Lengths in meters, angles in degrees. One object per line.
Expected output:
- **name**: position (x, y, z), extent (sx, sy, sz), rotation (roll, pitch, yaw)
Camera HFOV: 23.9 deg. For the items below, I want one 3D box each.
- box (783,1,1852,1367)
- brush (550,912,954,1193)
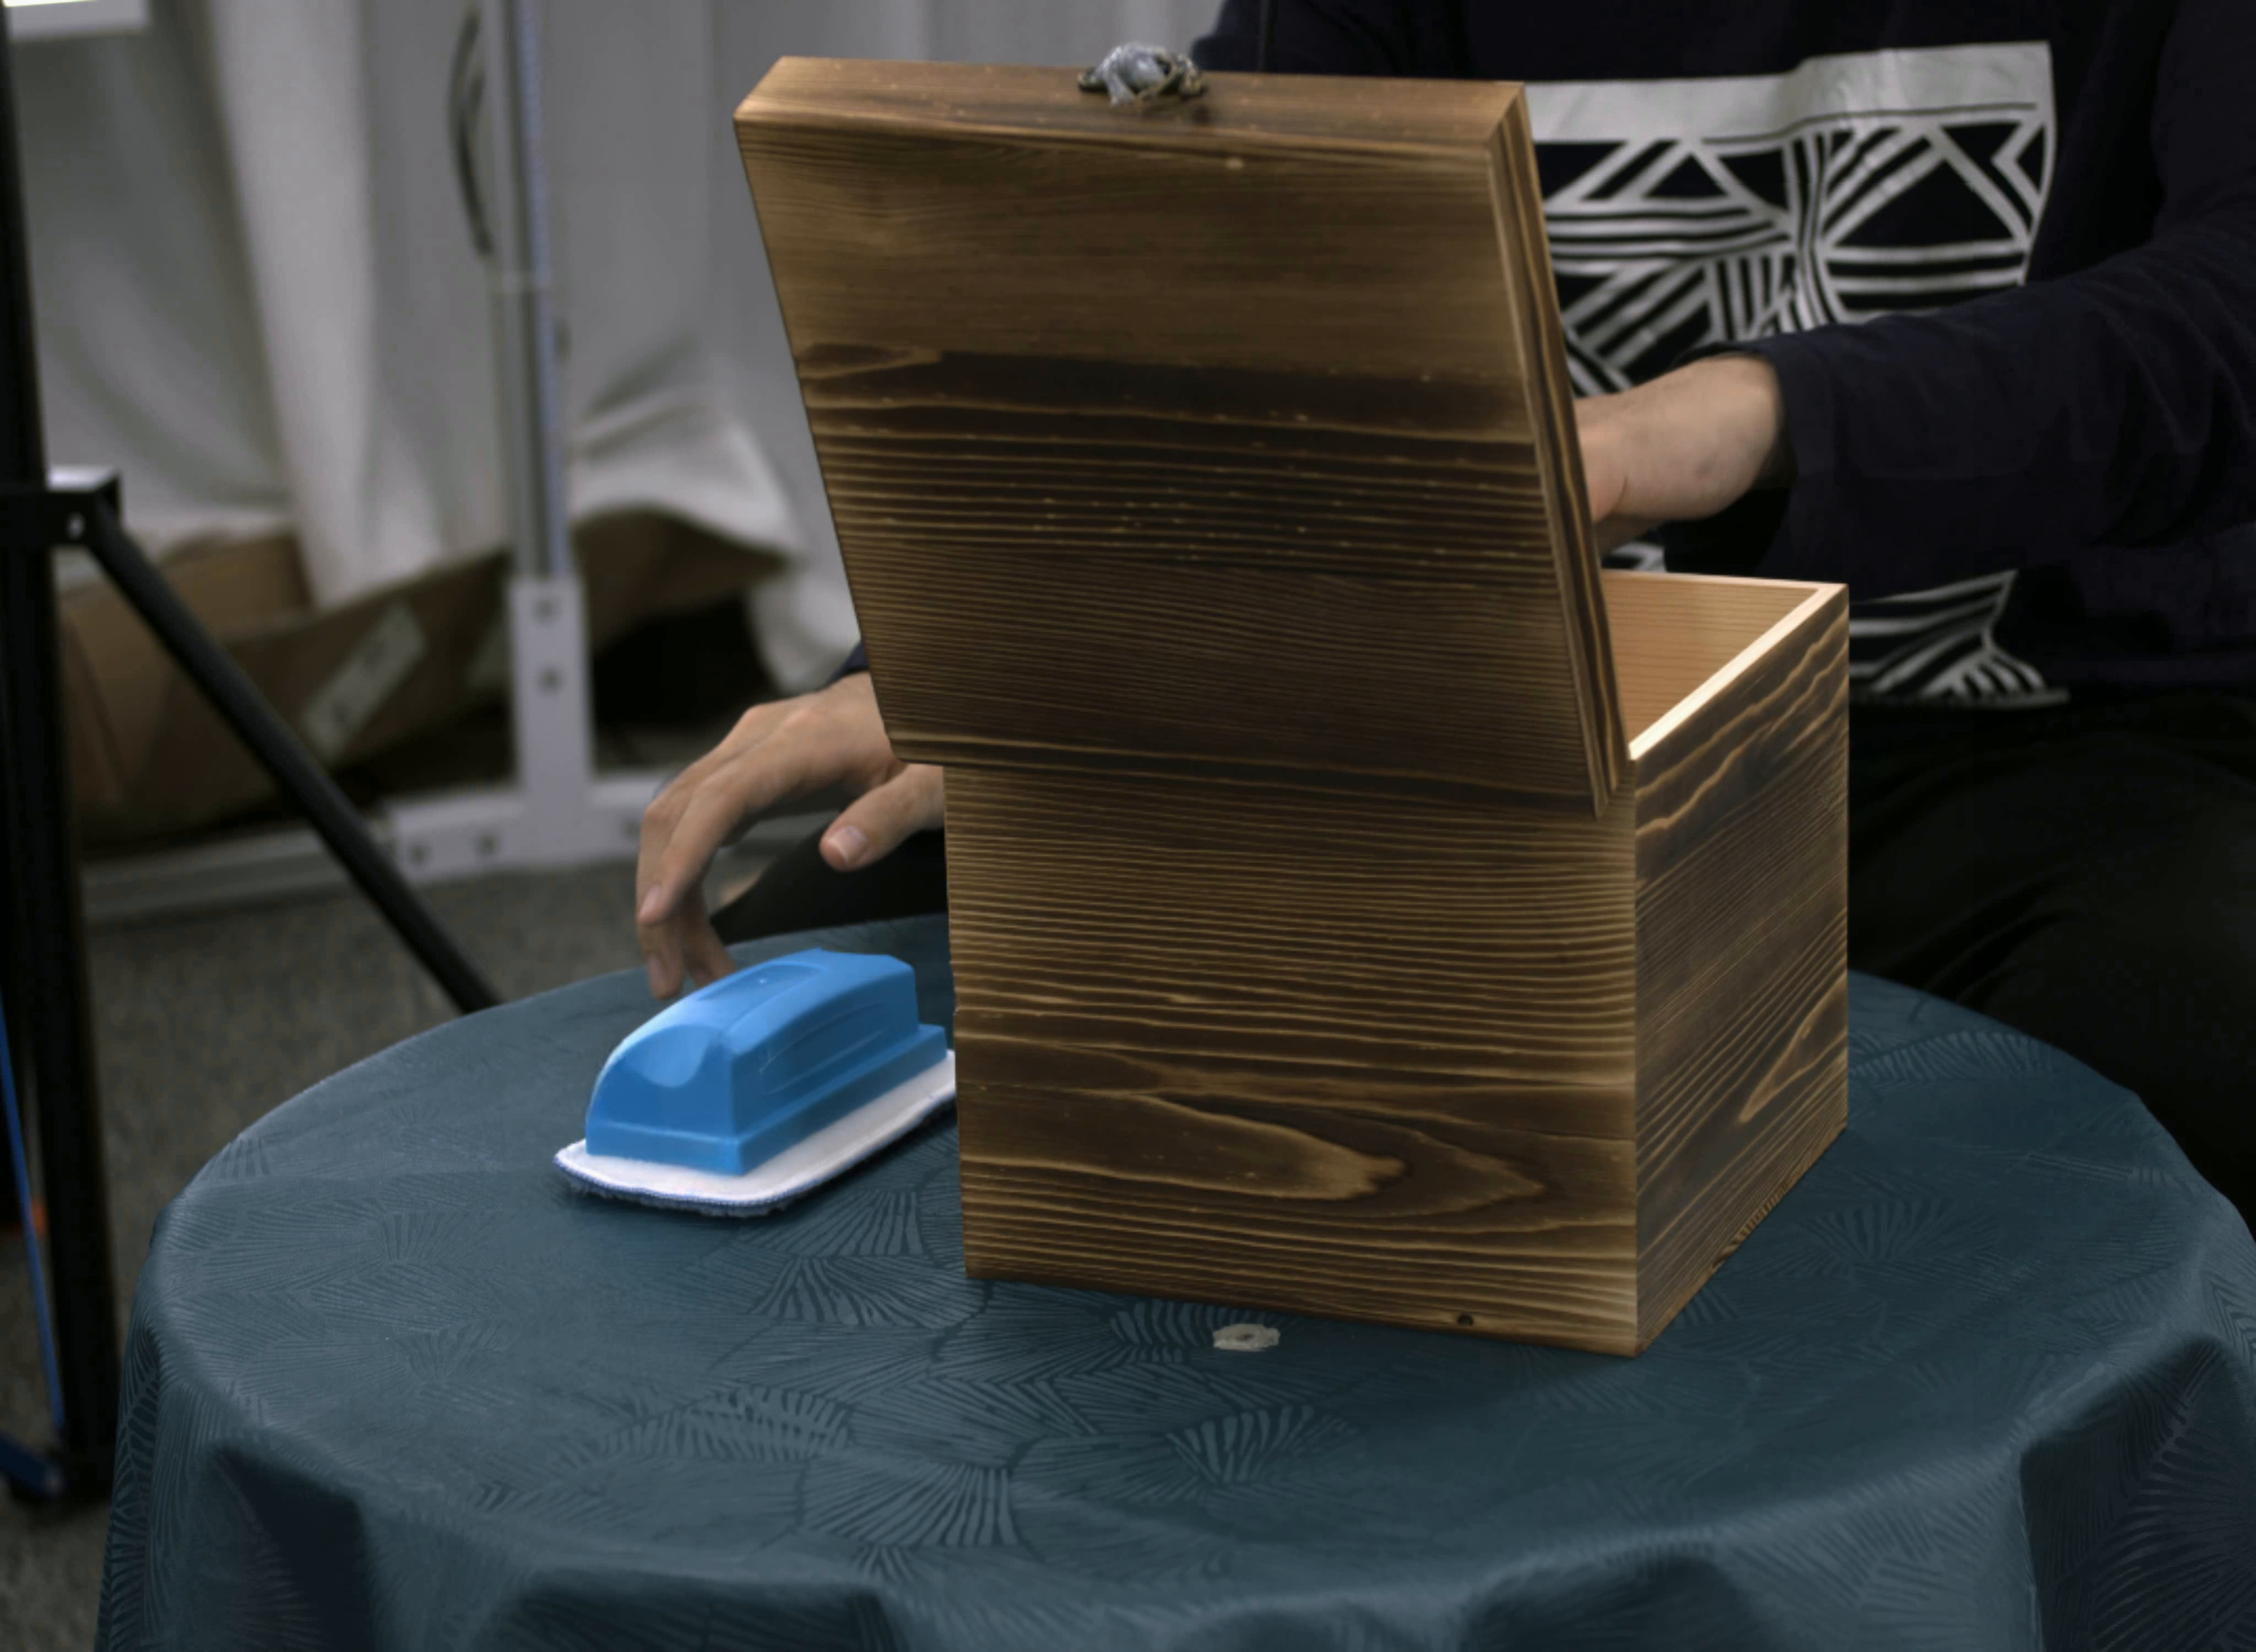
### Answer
- **box**: position (0.062, -0.051, 1.452), extent (0.211, 0.375, 0.317), rotation (5, 17, 23)
- **brush**: position (-0.107, 0.065, 1.618), extent (0.085, 0.056, 0.141), rotation (11, 22, 30)
